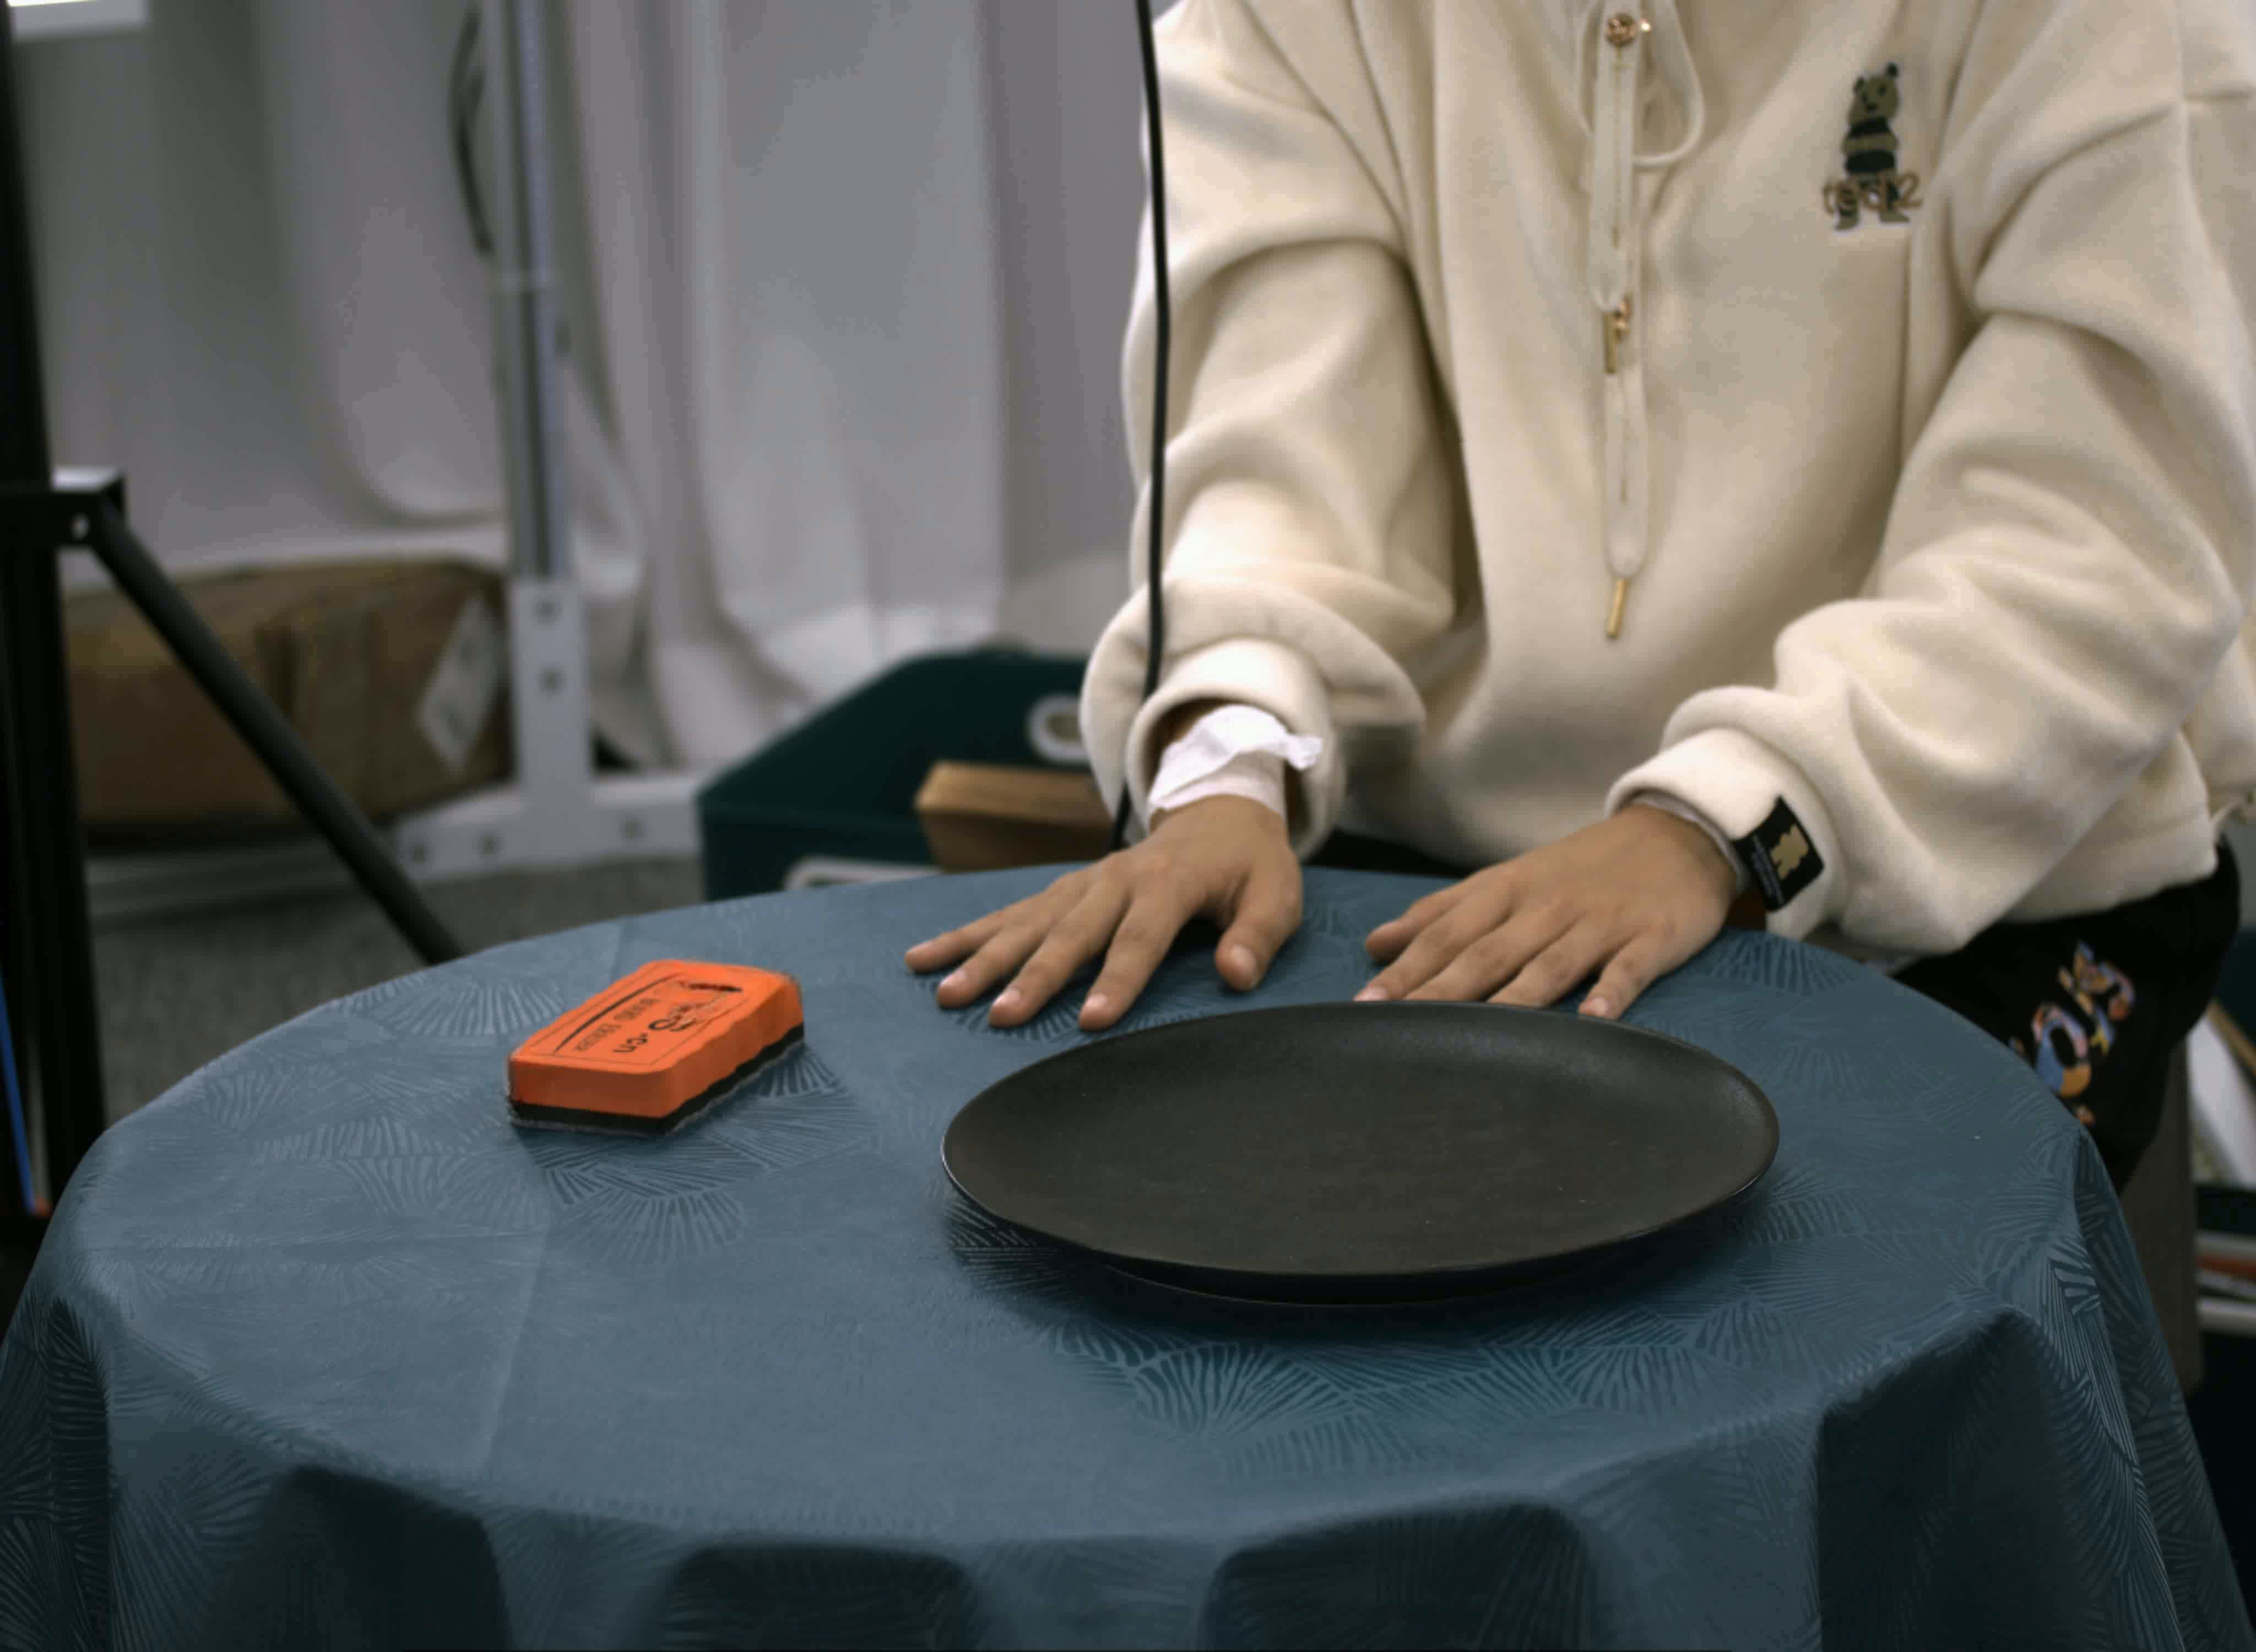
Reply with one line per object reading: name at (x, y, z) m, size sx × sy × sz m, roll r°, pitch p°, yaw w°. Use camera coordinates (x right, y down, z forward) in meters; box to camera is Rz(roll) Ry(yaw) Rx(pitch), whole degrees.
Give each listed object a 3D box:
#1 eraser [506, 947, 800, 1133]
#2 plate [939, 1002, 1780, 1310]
eraser at (-0.148, 0.067, 1.675) m, size 0.060 × 0.023 × 0.106 m, roll 3°, pitch 19°, yaw 23°
plate at (0.067, 0.098, 1.539) m, size 0.243 × 0.023 × 0.245 m, roll -3°, pitch 15°, yaw -1°
